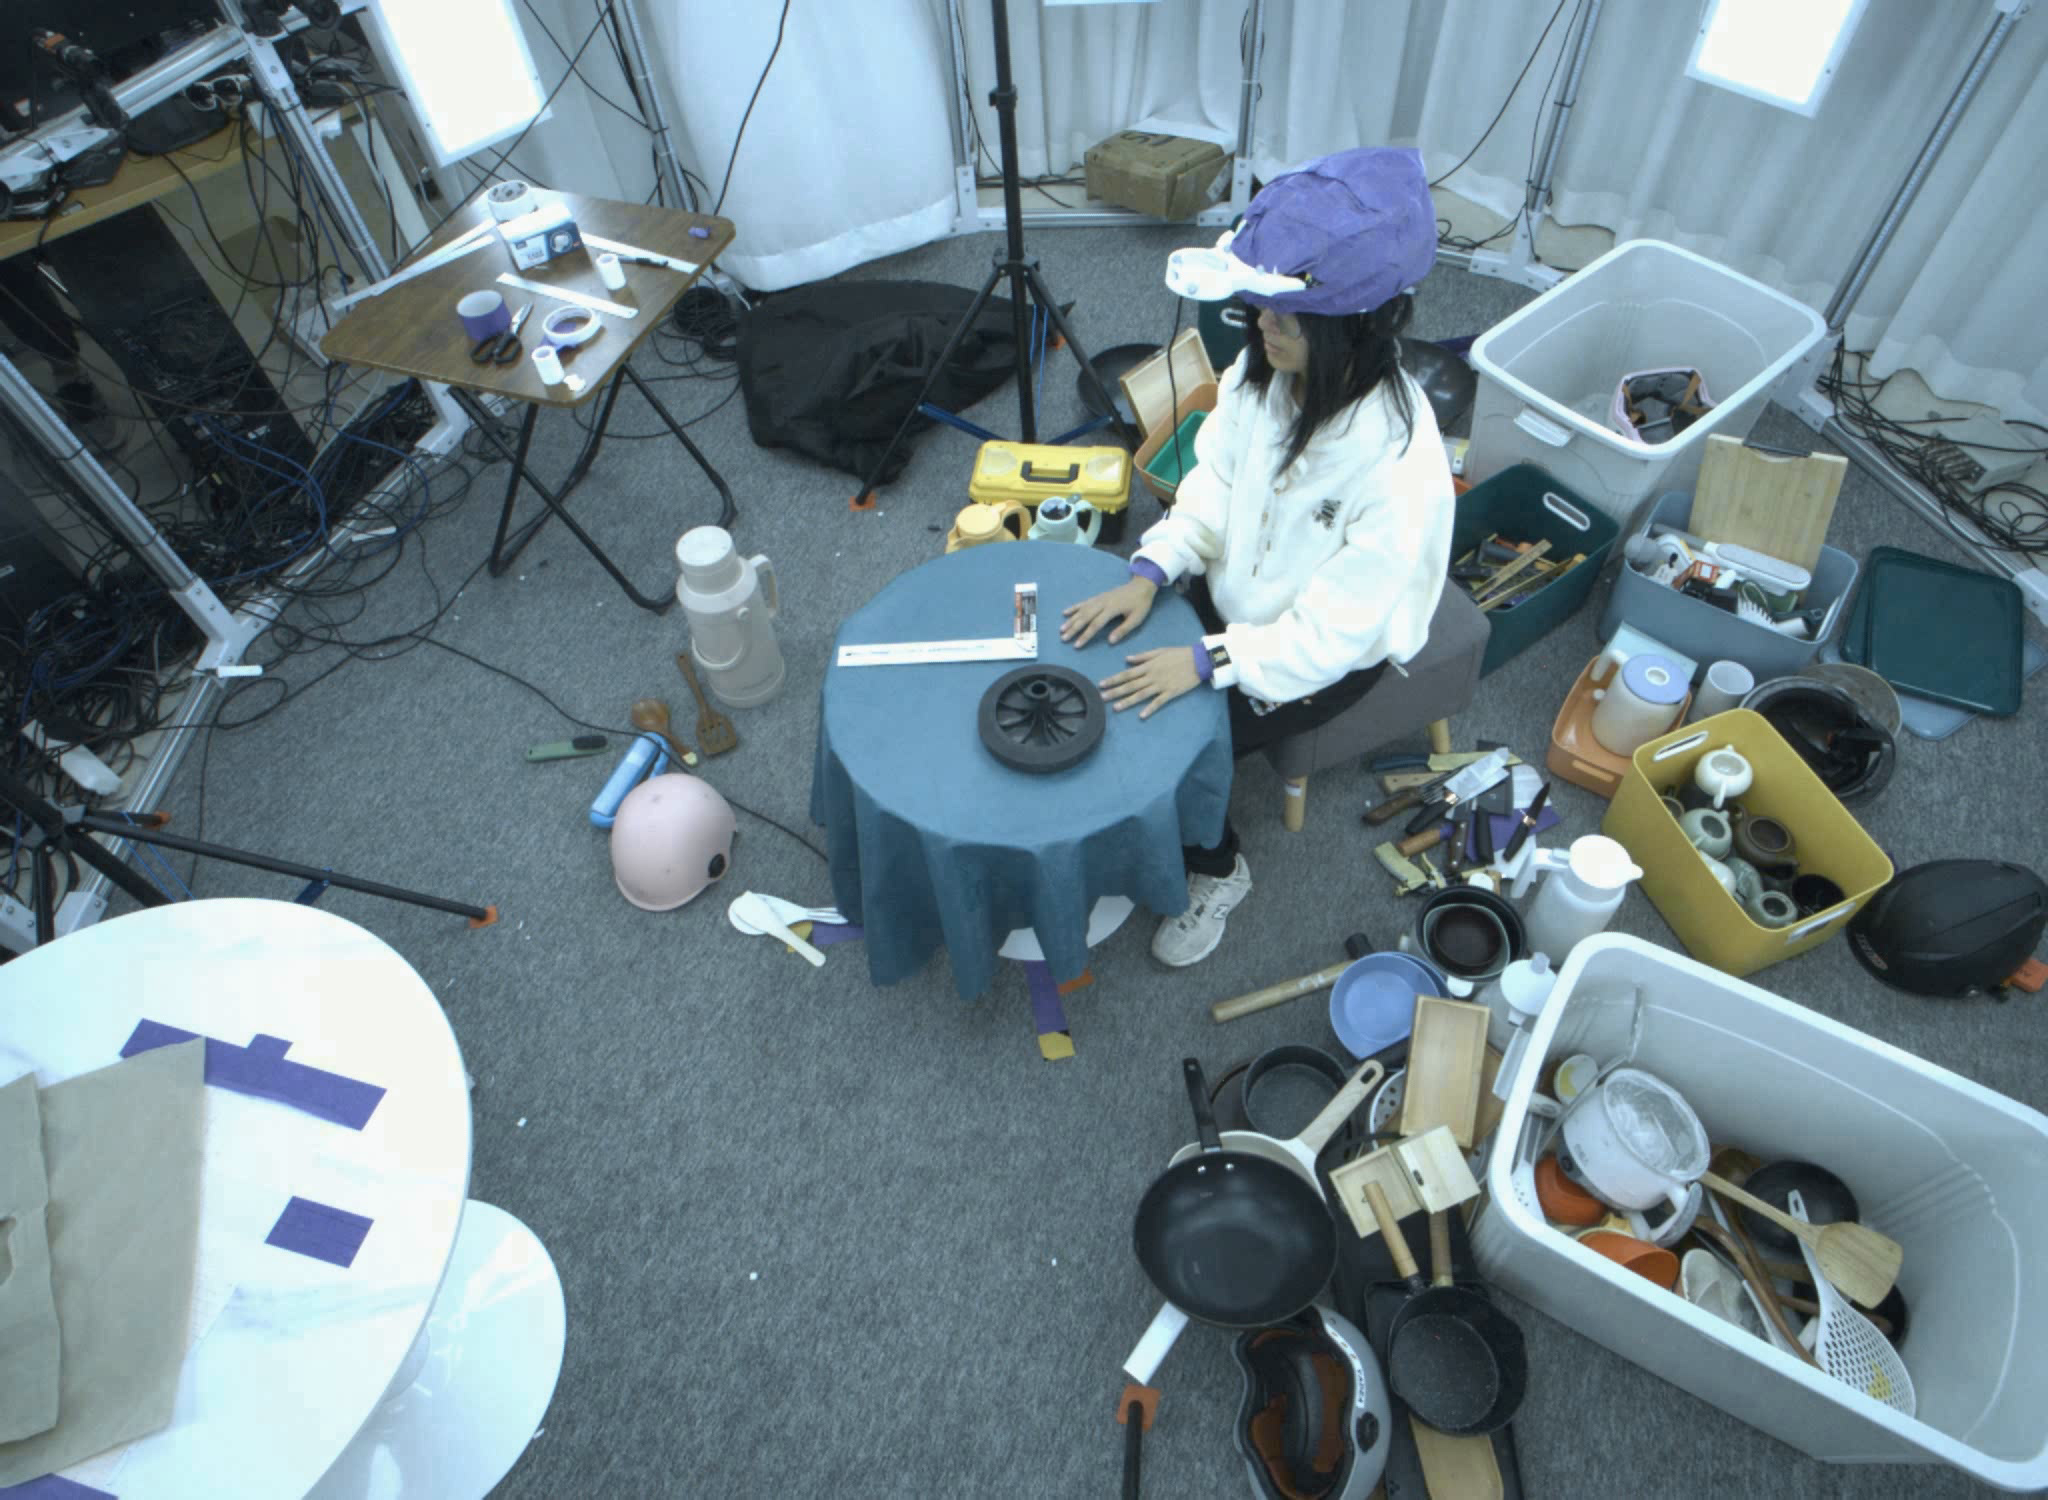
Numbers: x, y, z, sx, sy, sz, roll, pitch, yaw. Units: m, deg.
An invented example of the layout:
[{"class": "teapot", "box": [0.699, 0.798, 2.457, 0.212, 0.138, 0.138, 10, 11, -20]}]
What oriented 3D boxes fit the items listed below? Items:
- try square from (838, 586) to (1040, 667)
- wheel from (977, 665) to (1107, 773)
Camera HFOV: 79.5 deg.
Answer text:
[{"class": "try square", "box": [-0.132, -0.195, 1.928, 0.313, 0.016, 0.150, -2, 52, 2]}, {"class": "wheel", "box": [0.024, -0.060, 1.783, 0.187, 0.080, 0.188, 29, 61, 21]}]
